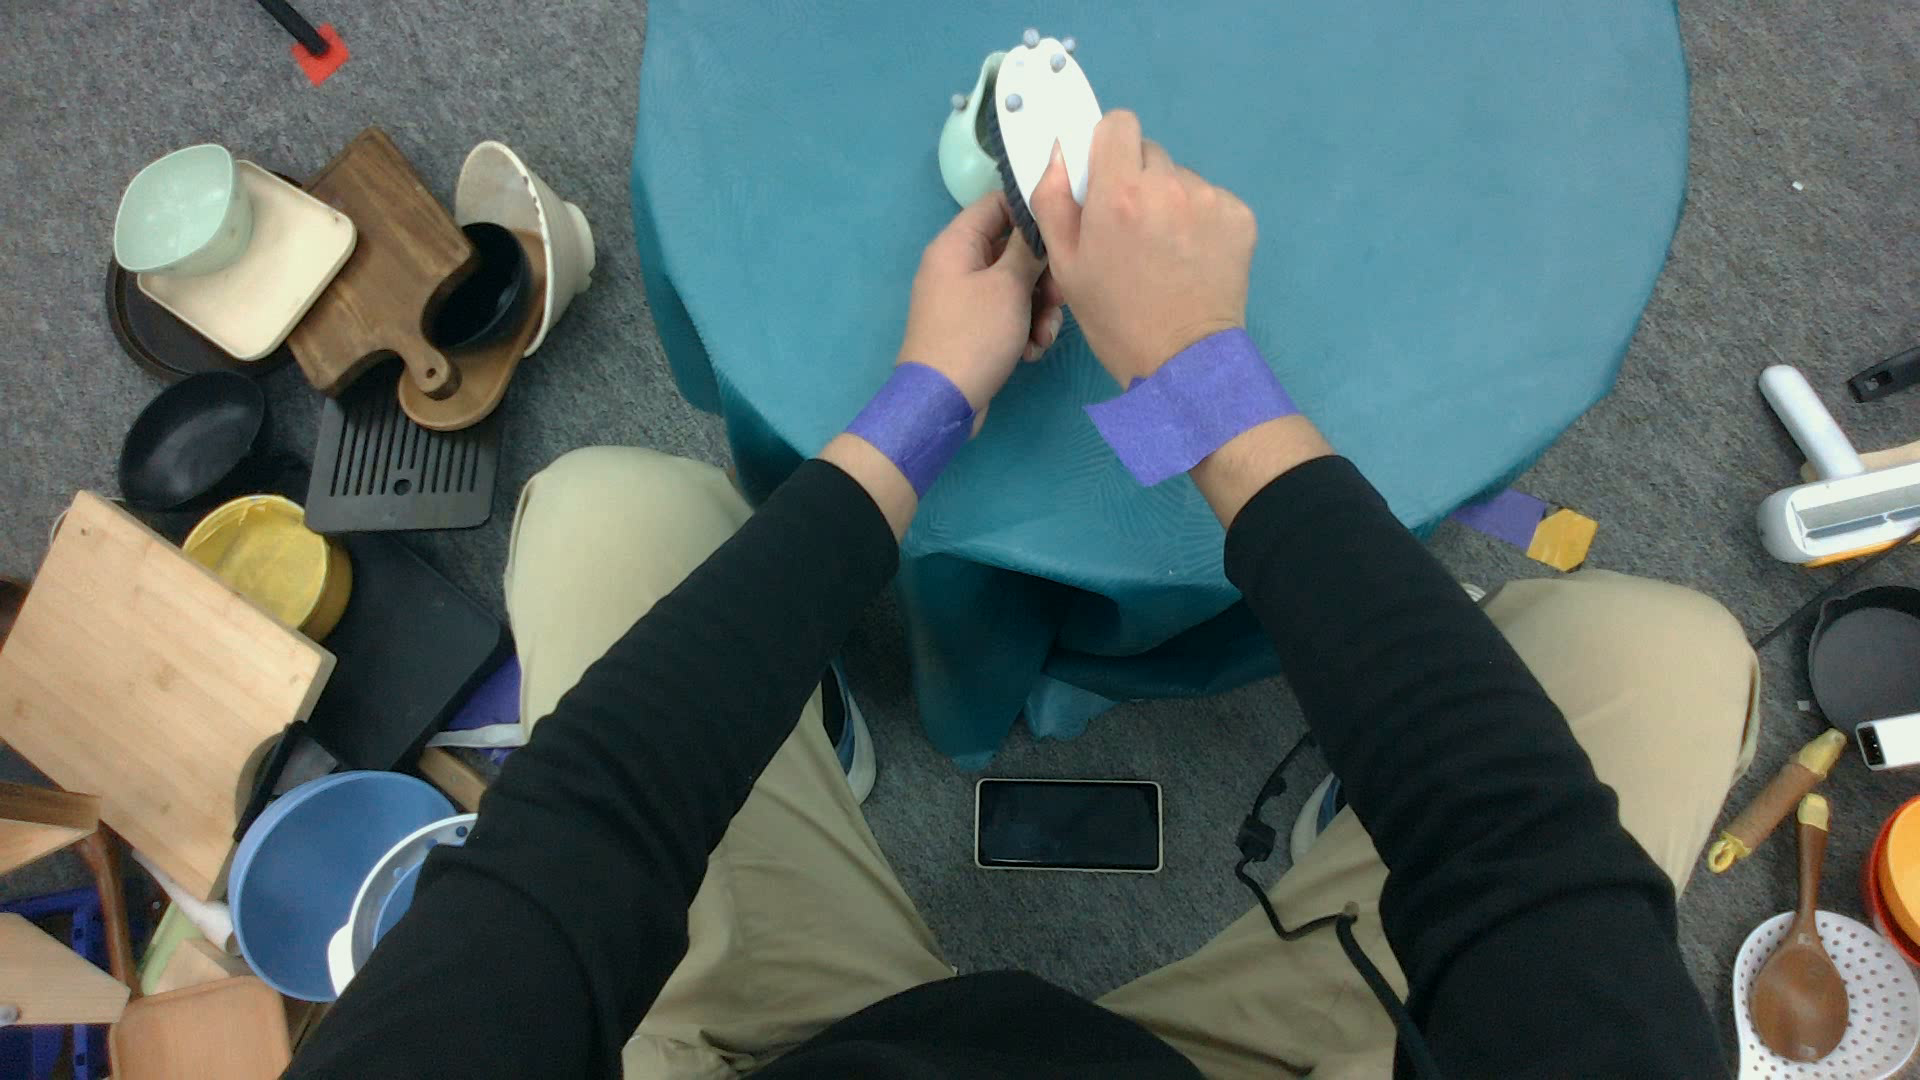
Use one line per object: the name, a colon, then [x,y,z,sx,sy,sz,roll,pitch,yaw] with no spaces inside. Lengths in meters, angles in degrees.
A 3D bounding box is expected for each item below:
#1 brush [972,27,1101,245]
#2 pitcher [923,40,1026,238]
brush: [0.041,-0.200,0.670,0.050,0.072,0.099,-15,88,-8]
pitcher: [0.025,-0.213,0.755,0.086,0.060,0.108,-17,79,-1]
